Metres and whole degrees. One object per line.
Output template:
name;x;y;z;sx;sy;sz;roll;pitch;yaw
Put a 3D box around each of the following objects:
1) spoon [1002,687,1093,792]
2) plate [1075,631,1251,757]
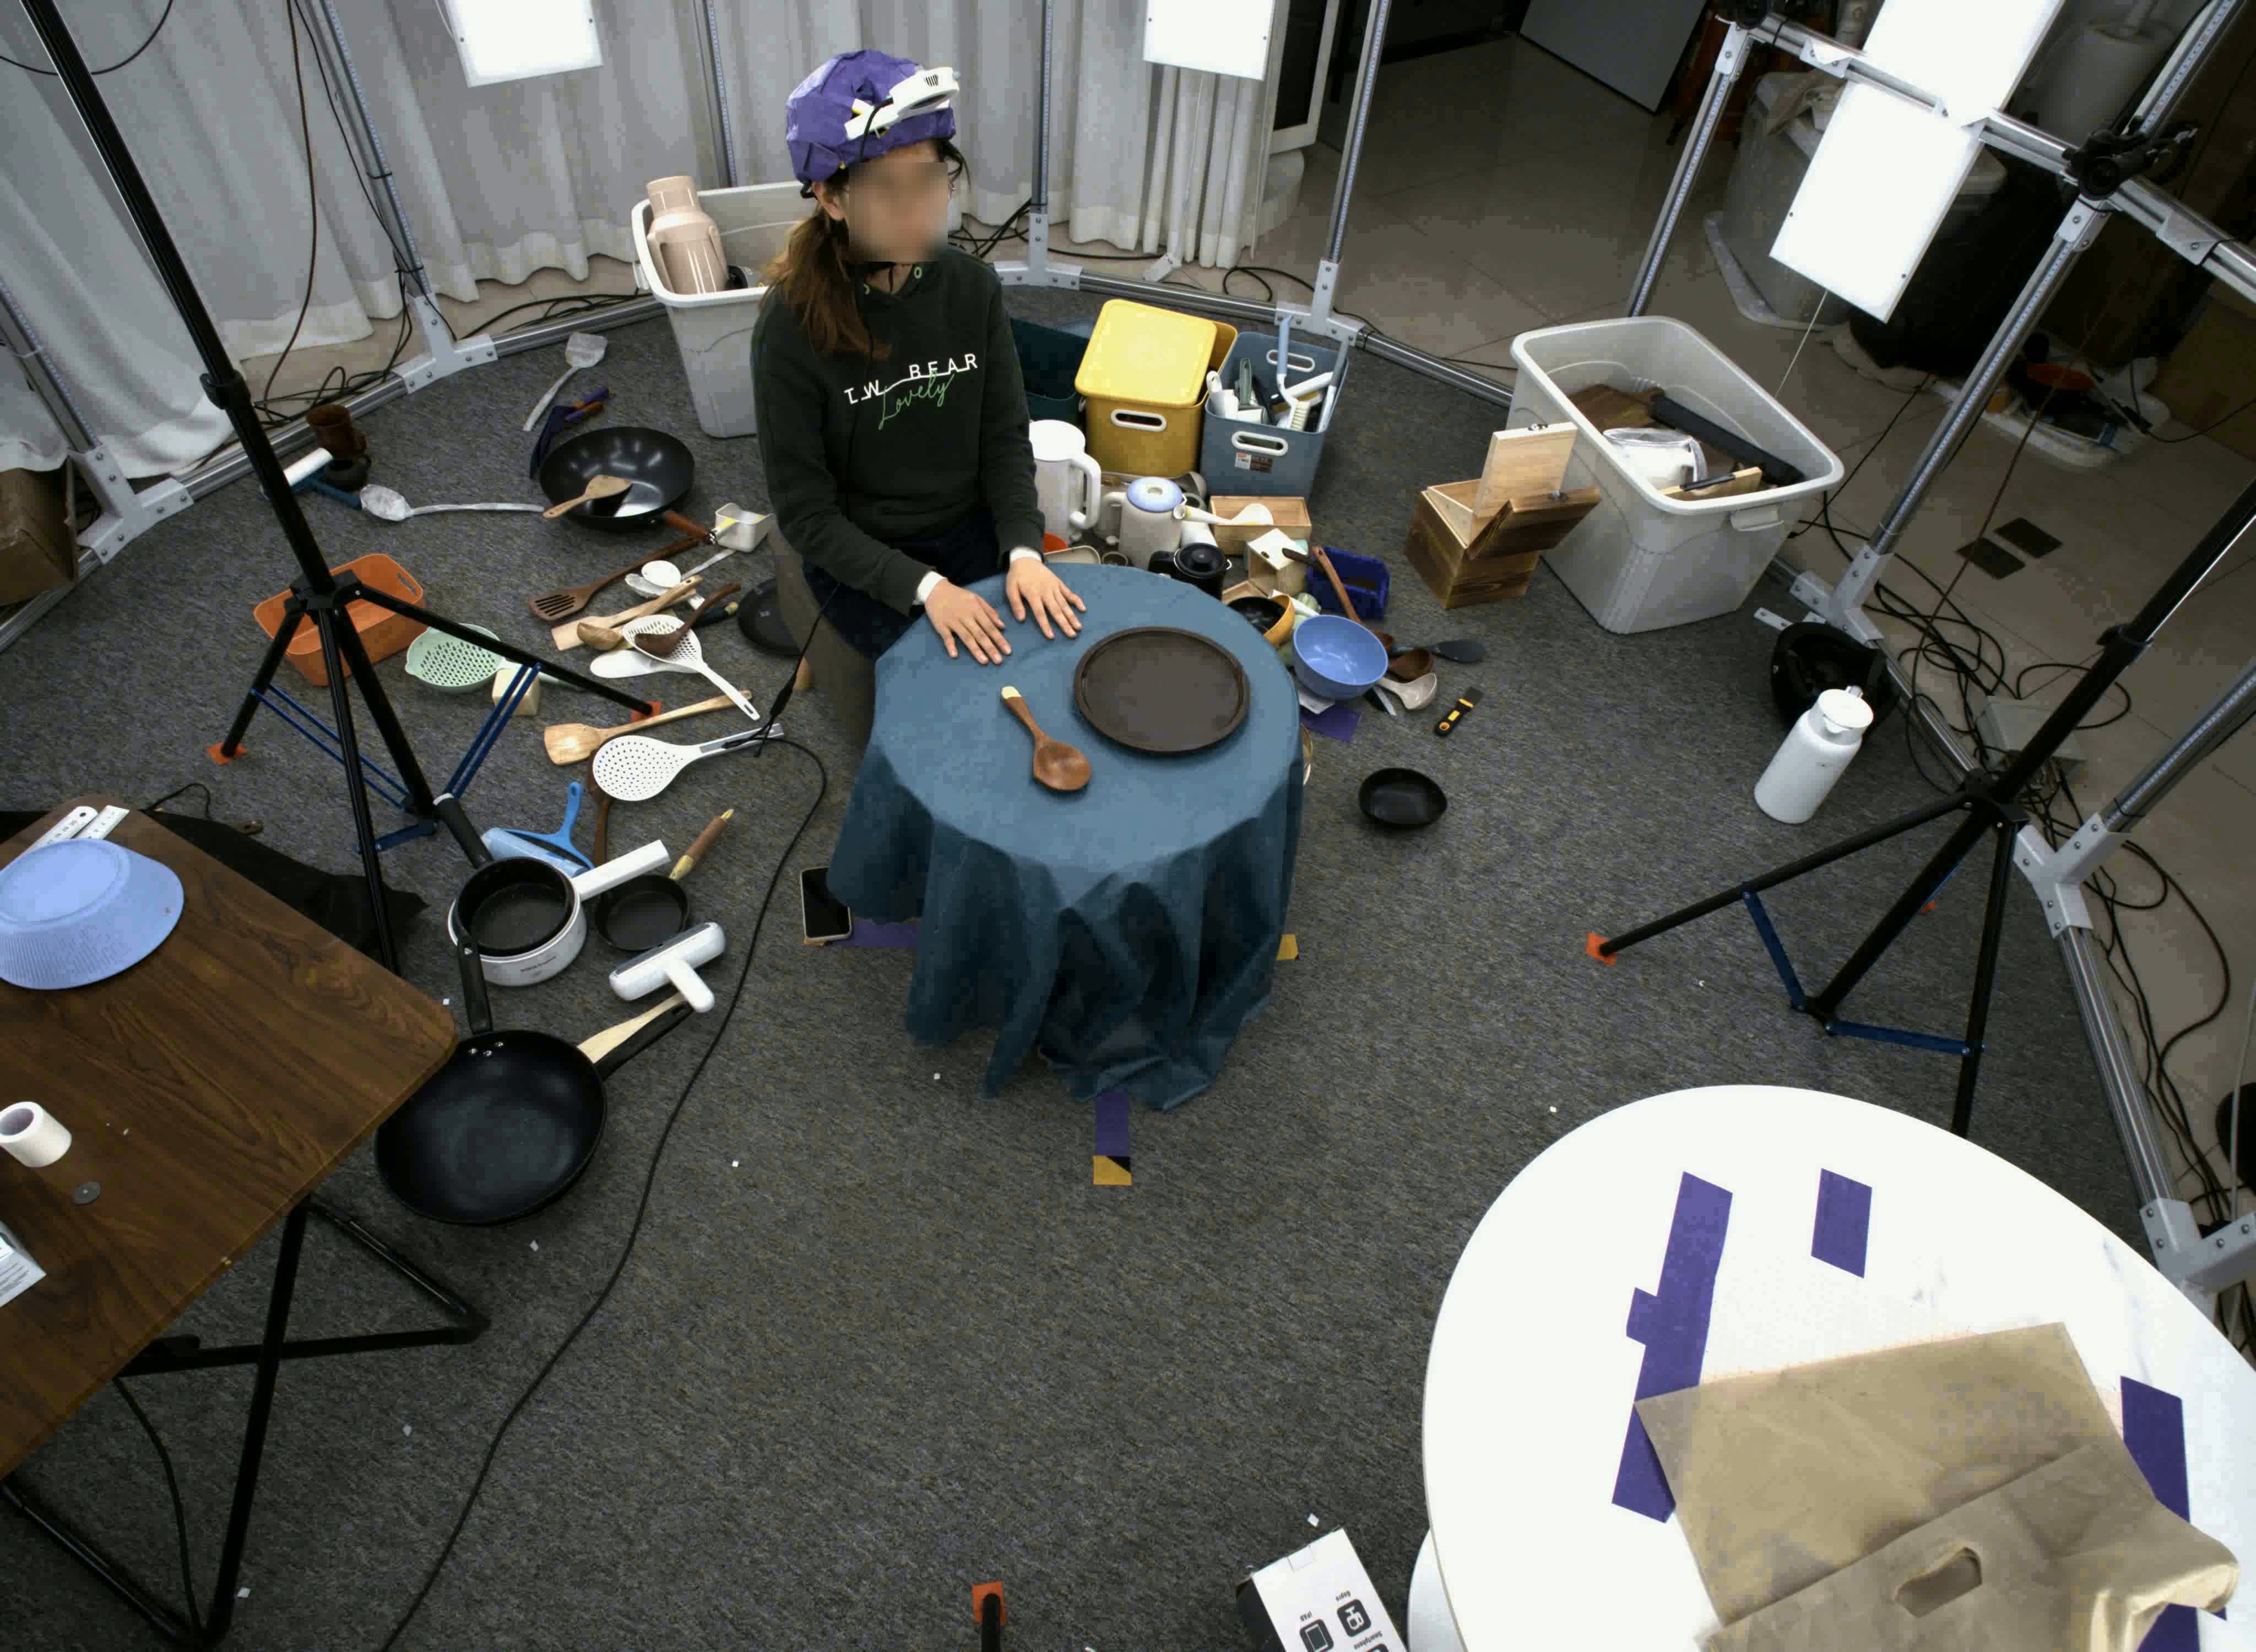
spoon;-0.118;-0.120;1.769;0.075;0.017;0.220;-21;53;-21
plate;0.050;-0.192;1.840;0.254;0.028;0.261;3;49;-3
